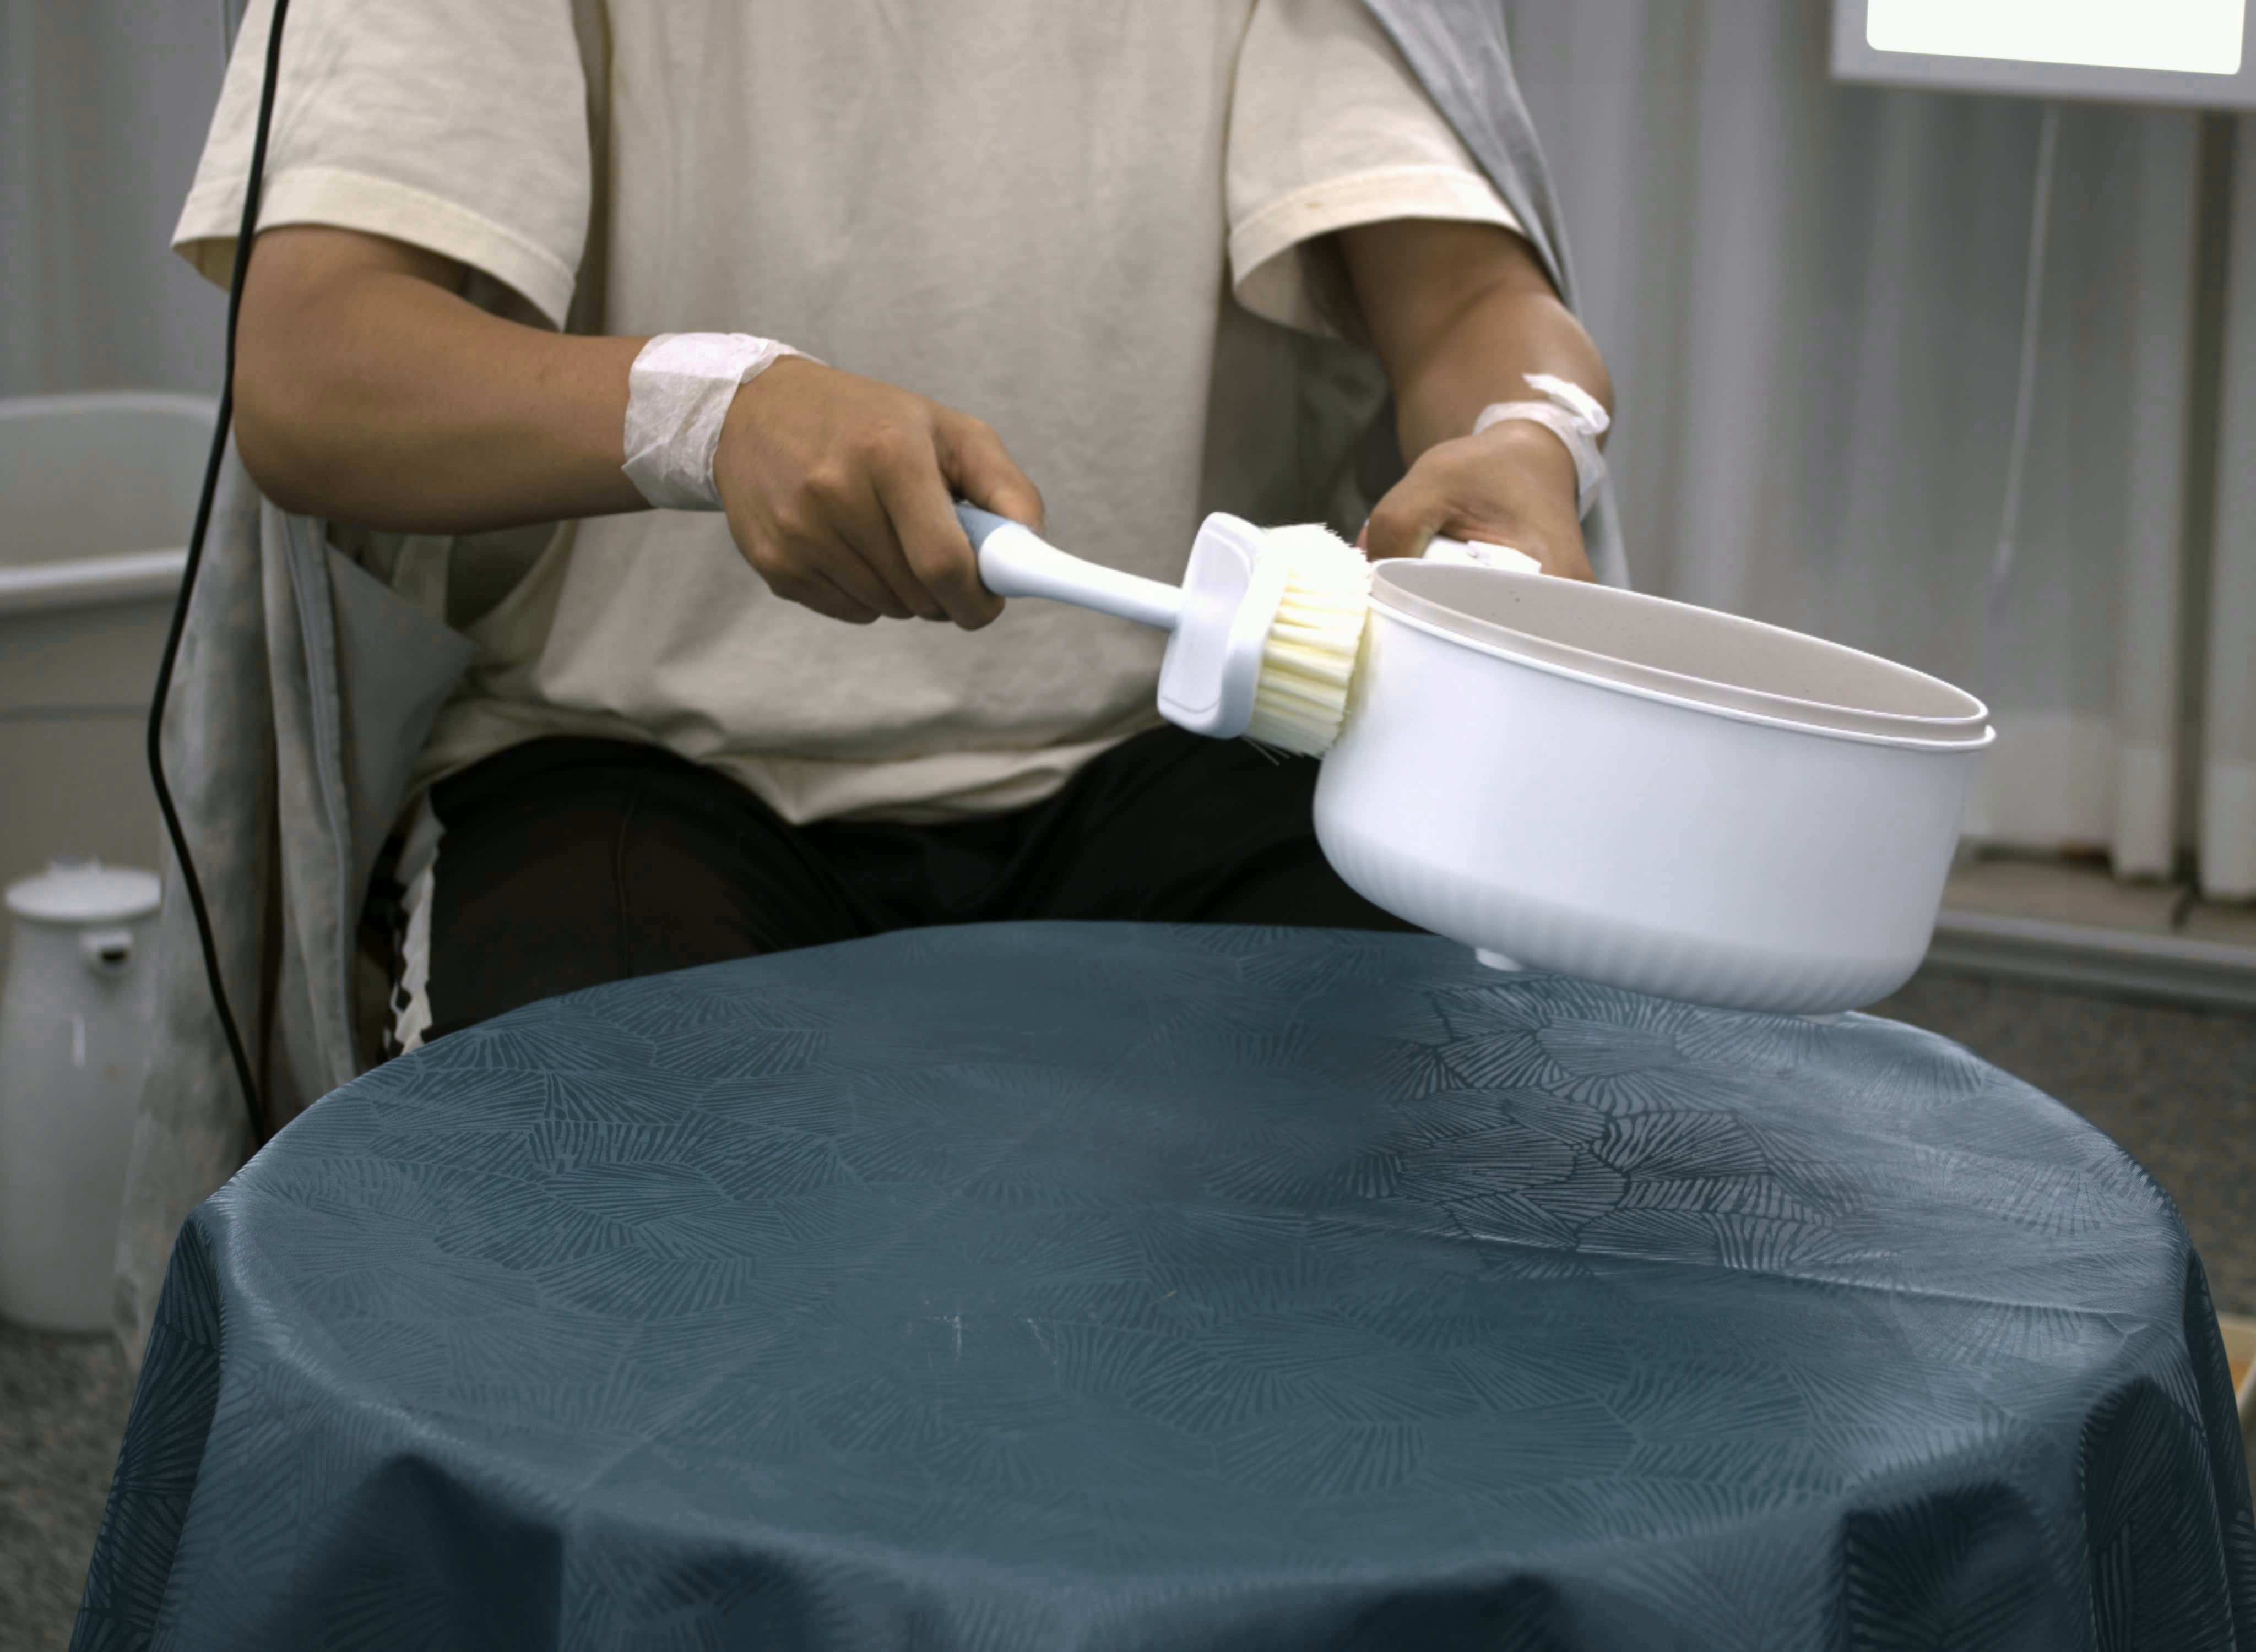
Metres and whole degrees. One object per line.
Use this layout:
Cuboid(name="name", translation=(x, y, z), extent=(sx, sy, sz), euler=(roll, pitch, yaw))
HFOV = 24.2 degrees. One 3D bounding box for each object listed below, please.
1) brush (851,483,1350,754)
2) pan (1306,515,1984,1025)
Cuboid(name="brush", translation=(0.004, -0.079, 1.714), extent=(0.083, 0.085, 0.322), euler=(-42, 22, -10))
Cuboid(name="pan", translation=(0.135, -0.025, 1.689), extent=(0.202, 0.102, 0.351), euler=(10, 9, -17))
